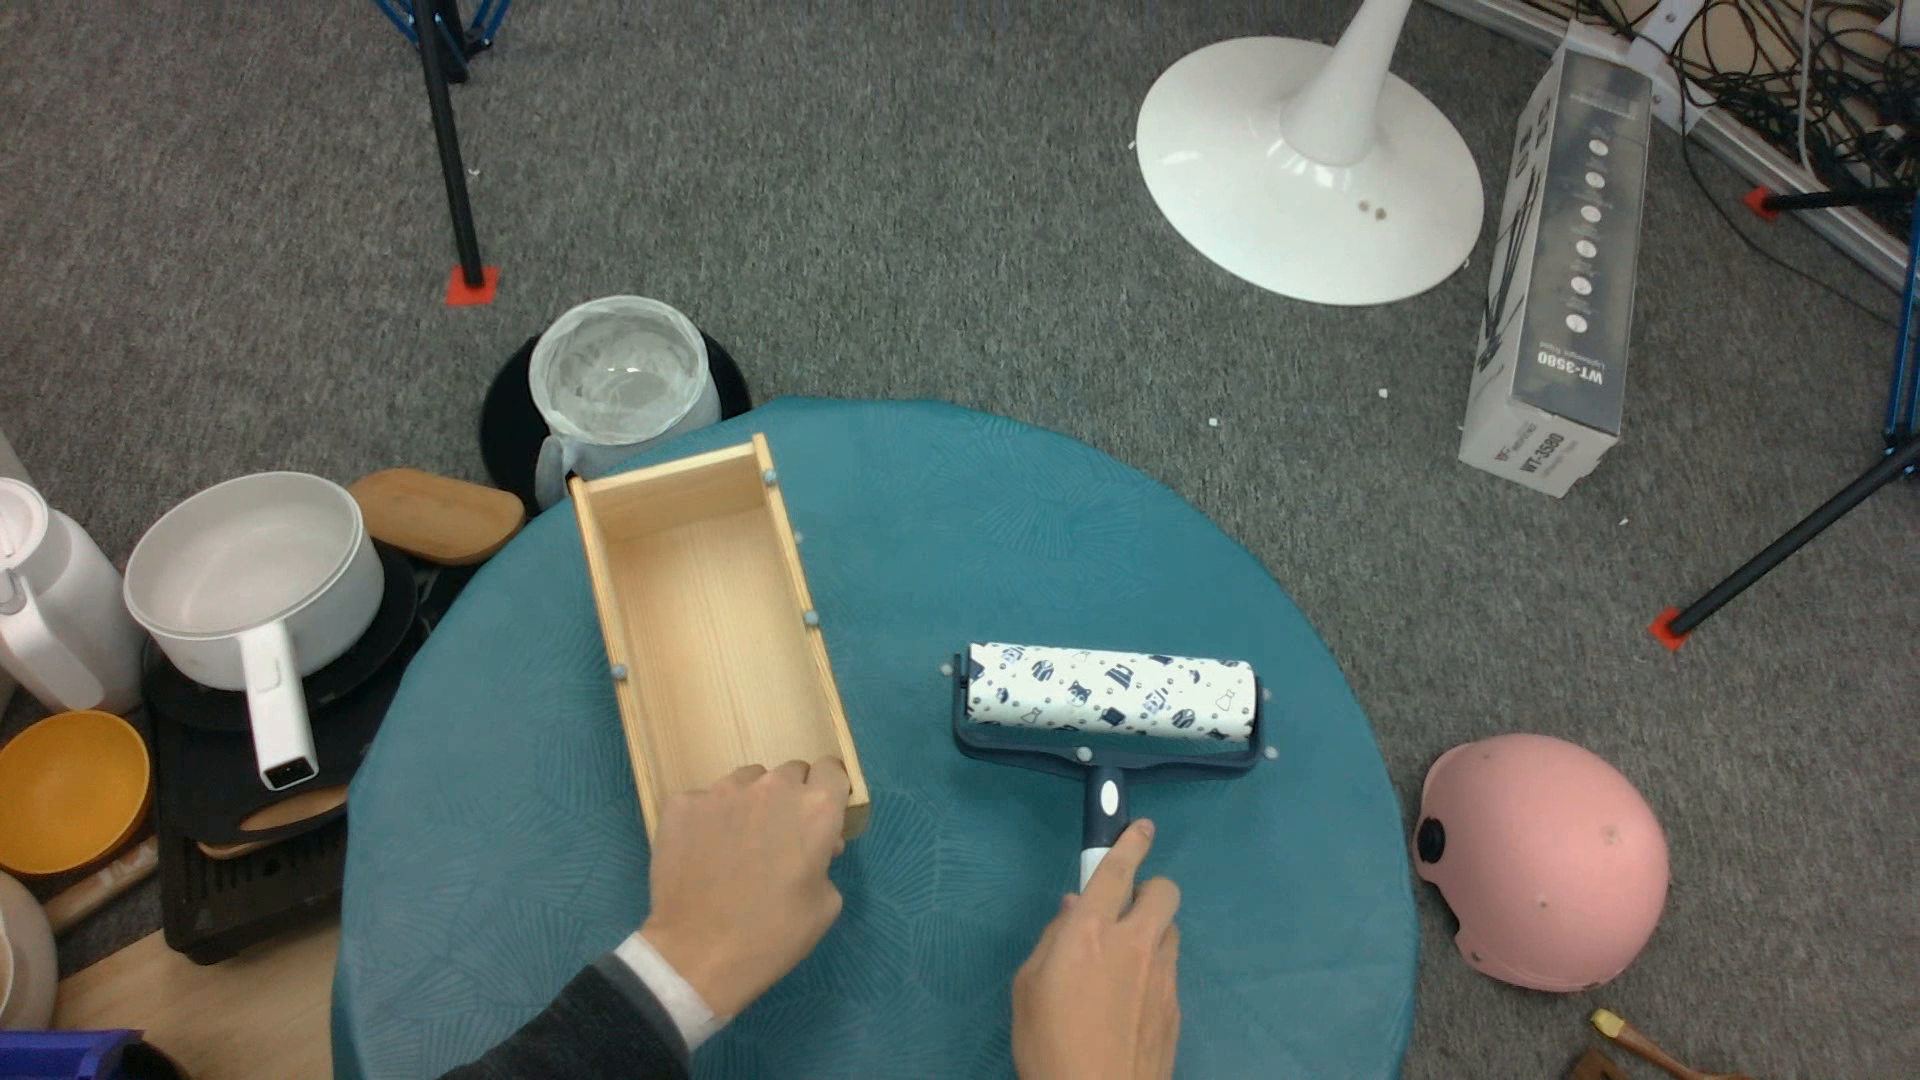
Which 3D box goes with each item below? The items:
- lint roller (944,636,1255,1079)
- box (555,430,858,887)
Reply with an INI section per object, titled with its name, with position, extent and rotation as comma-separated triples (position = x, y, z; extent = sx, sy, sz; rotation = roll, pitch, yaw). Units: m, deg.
[lint roller]
position = 0.075, 0.172, 0.735
extent = 0.176, 0.050, 0.248
rotation = 5, 61, -3
[box]
position = -0.135, 0.061, 0.734
extent = 0.108, 0.080, 0.212
rotation = -15, 68, -12
